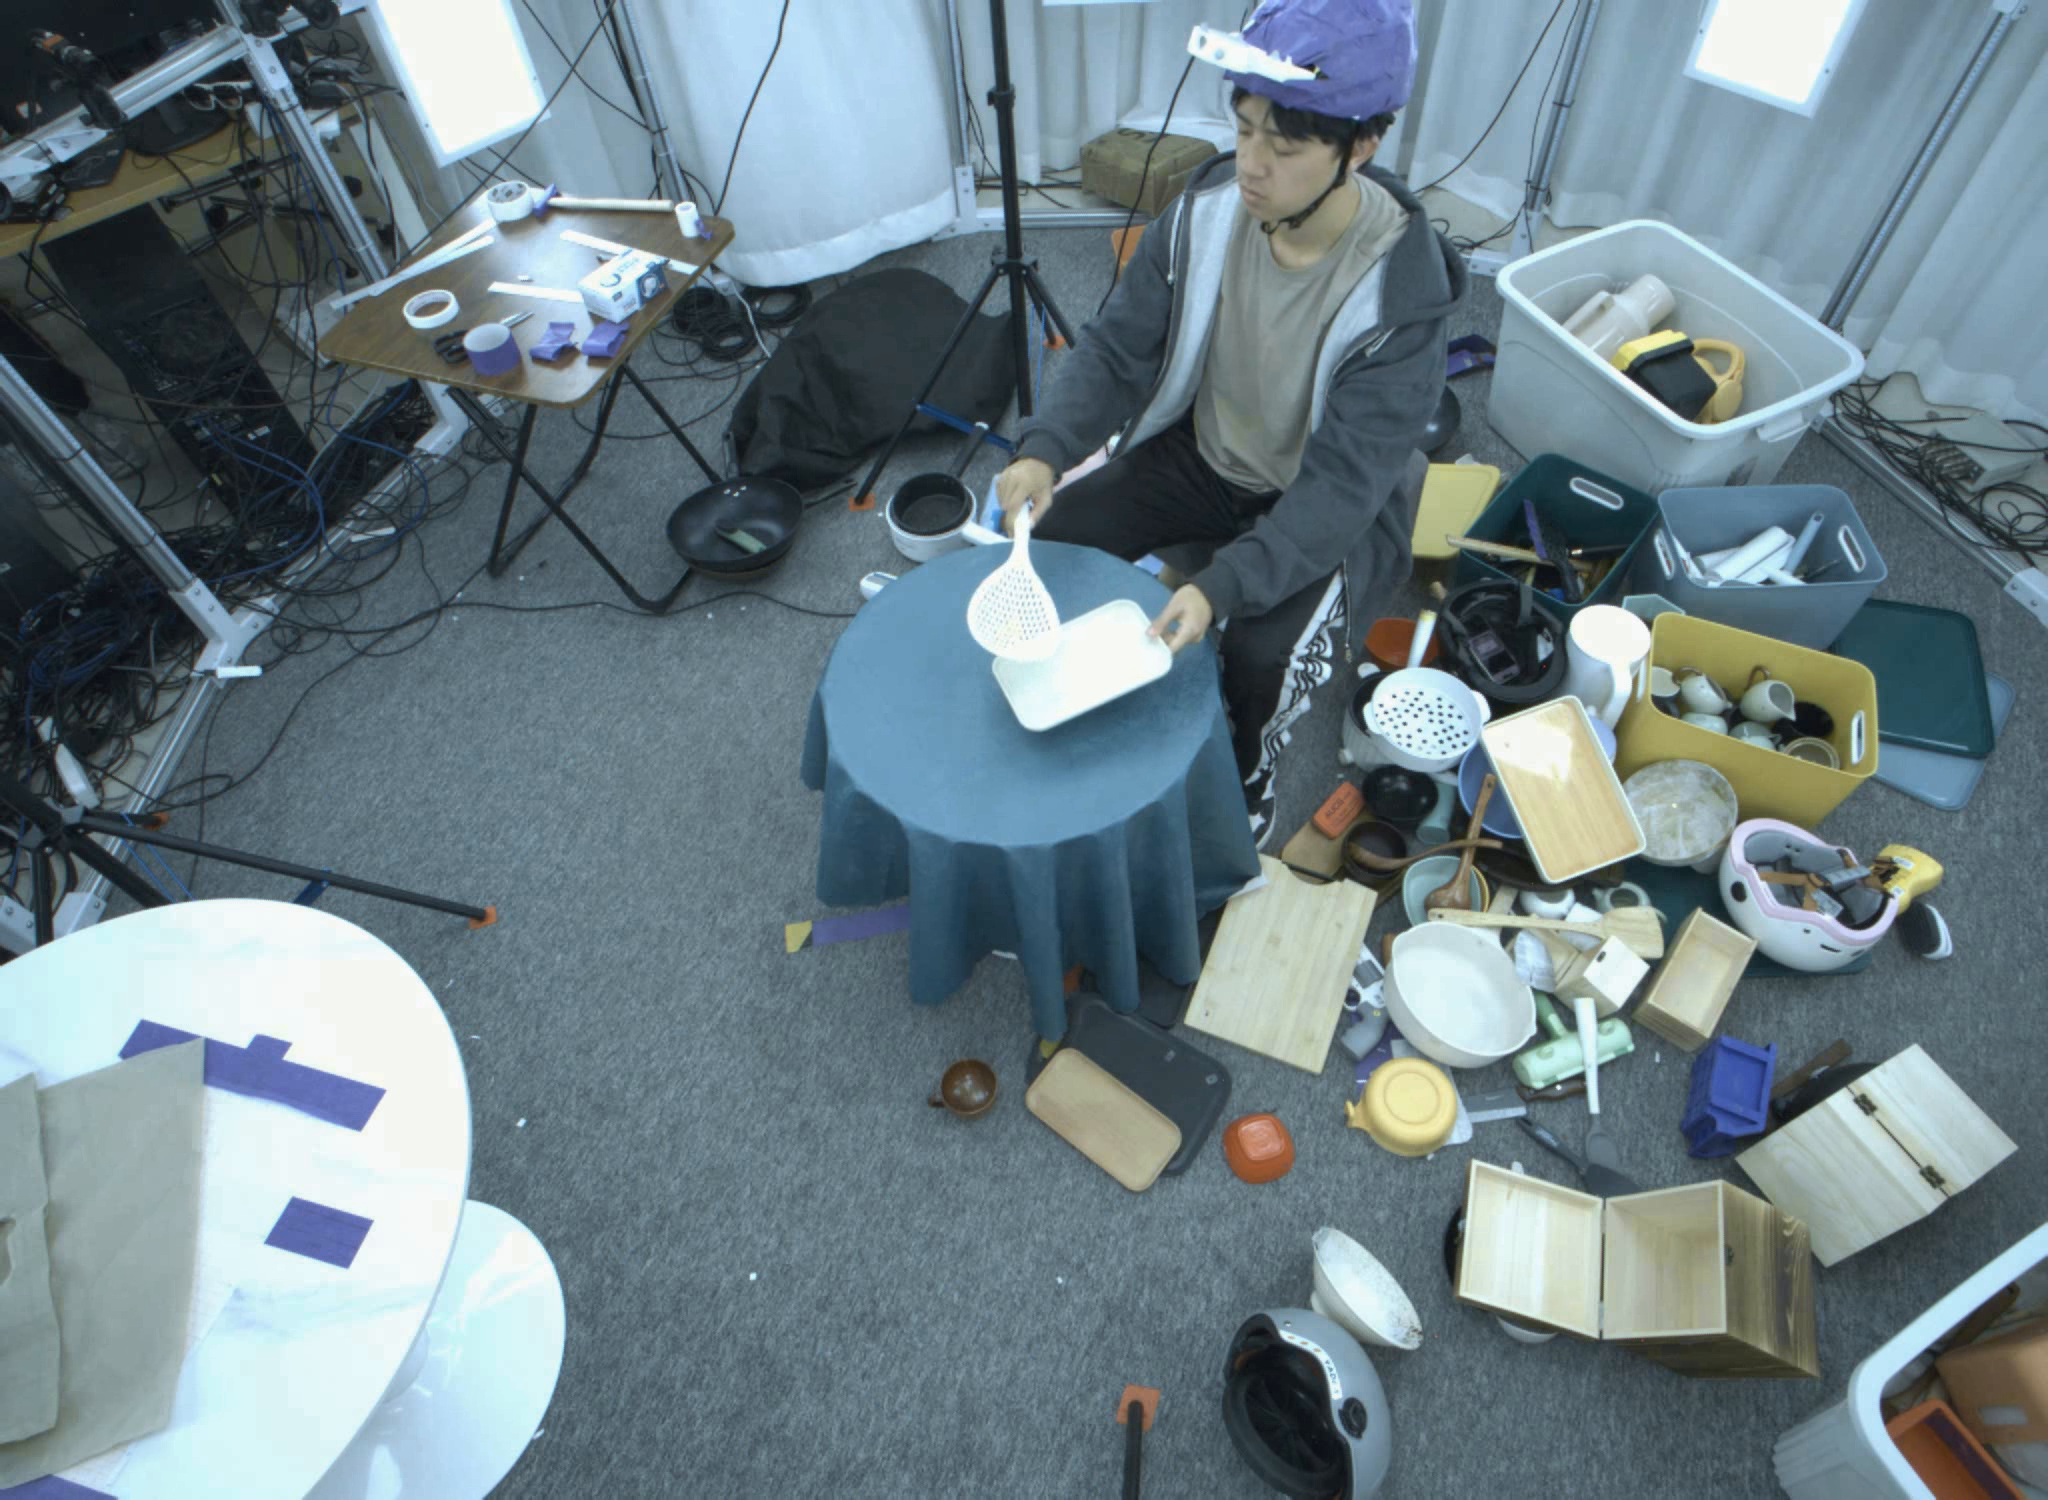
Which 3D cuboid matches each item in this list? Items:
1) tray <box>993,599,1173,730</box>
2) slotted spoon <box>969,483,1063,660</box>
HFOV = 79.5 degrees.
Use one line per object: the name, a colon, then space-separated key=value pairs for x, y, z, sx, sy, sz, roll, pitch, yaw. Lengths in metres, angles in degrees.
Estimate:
tray: x=0.084 y=-0.125 z=1.787 sx=0.240 sy=0.018 sz=0.168 roll=-24 pitch=51 yaw=-5
slotted spoon: x=-0.012 y=-0.270 z=1.794 sx=0.138 sy=0.050 sz=0.345 roll=11 pitch=61 yaw=-15
